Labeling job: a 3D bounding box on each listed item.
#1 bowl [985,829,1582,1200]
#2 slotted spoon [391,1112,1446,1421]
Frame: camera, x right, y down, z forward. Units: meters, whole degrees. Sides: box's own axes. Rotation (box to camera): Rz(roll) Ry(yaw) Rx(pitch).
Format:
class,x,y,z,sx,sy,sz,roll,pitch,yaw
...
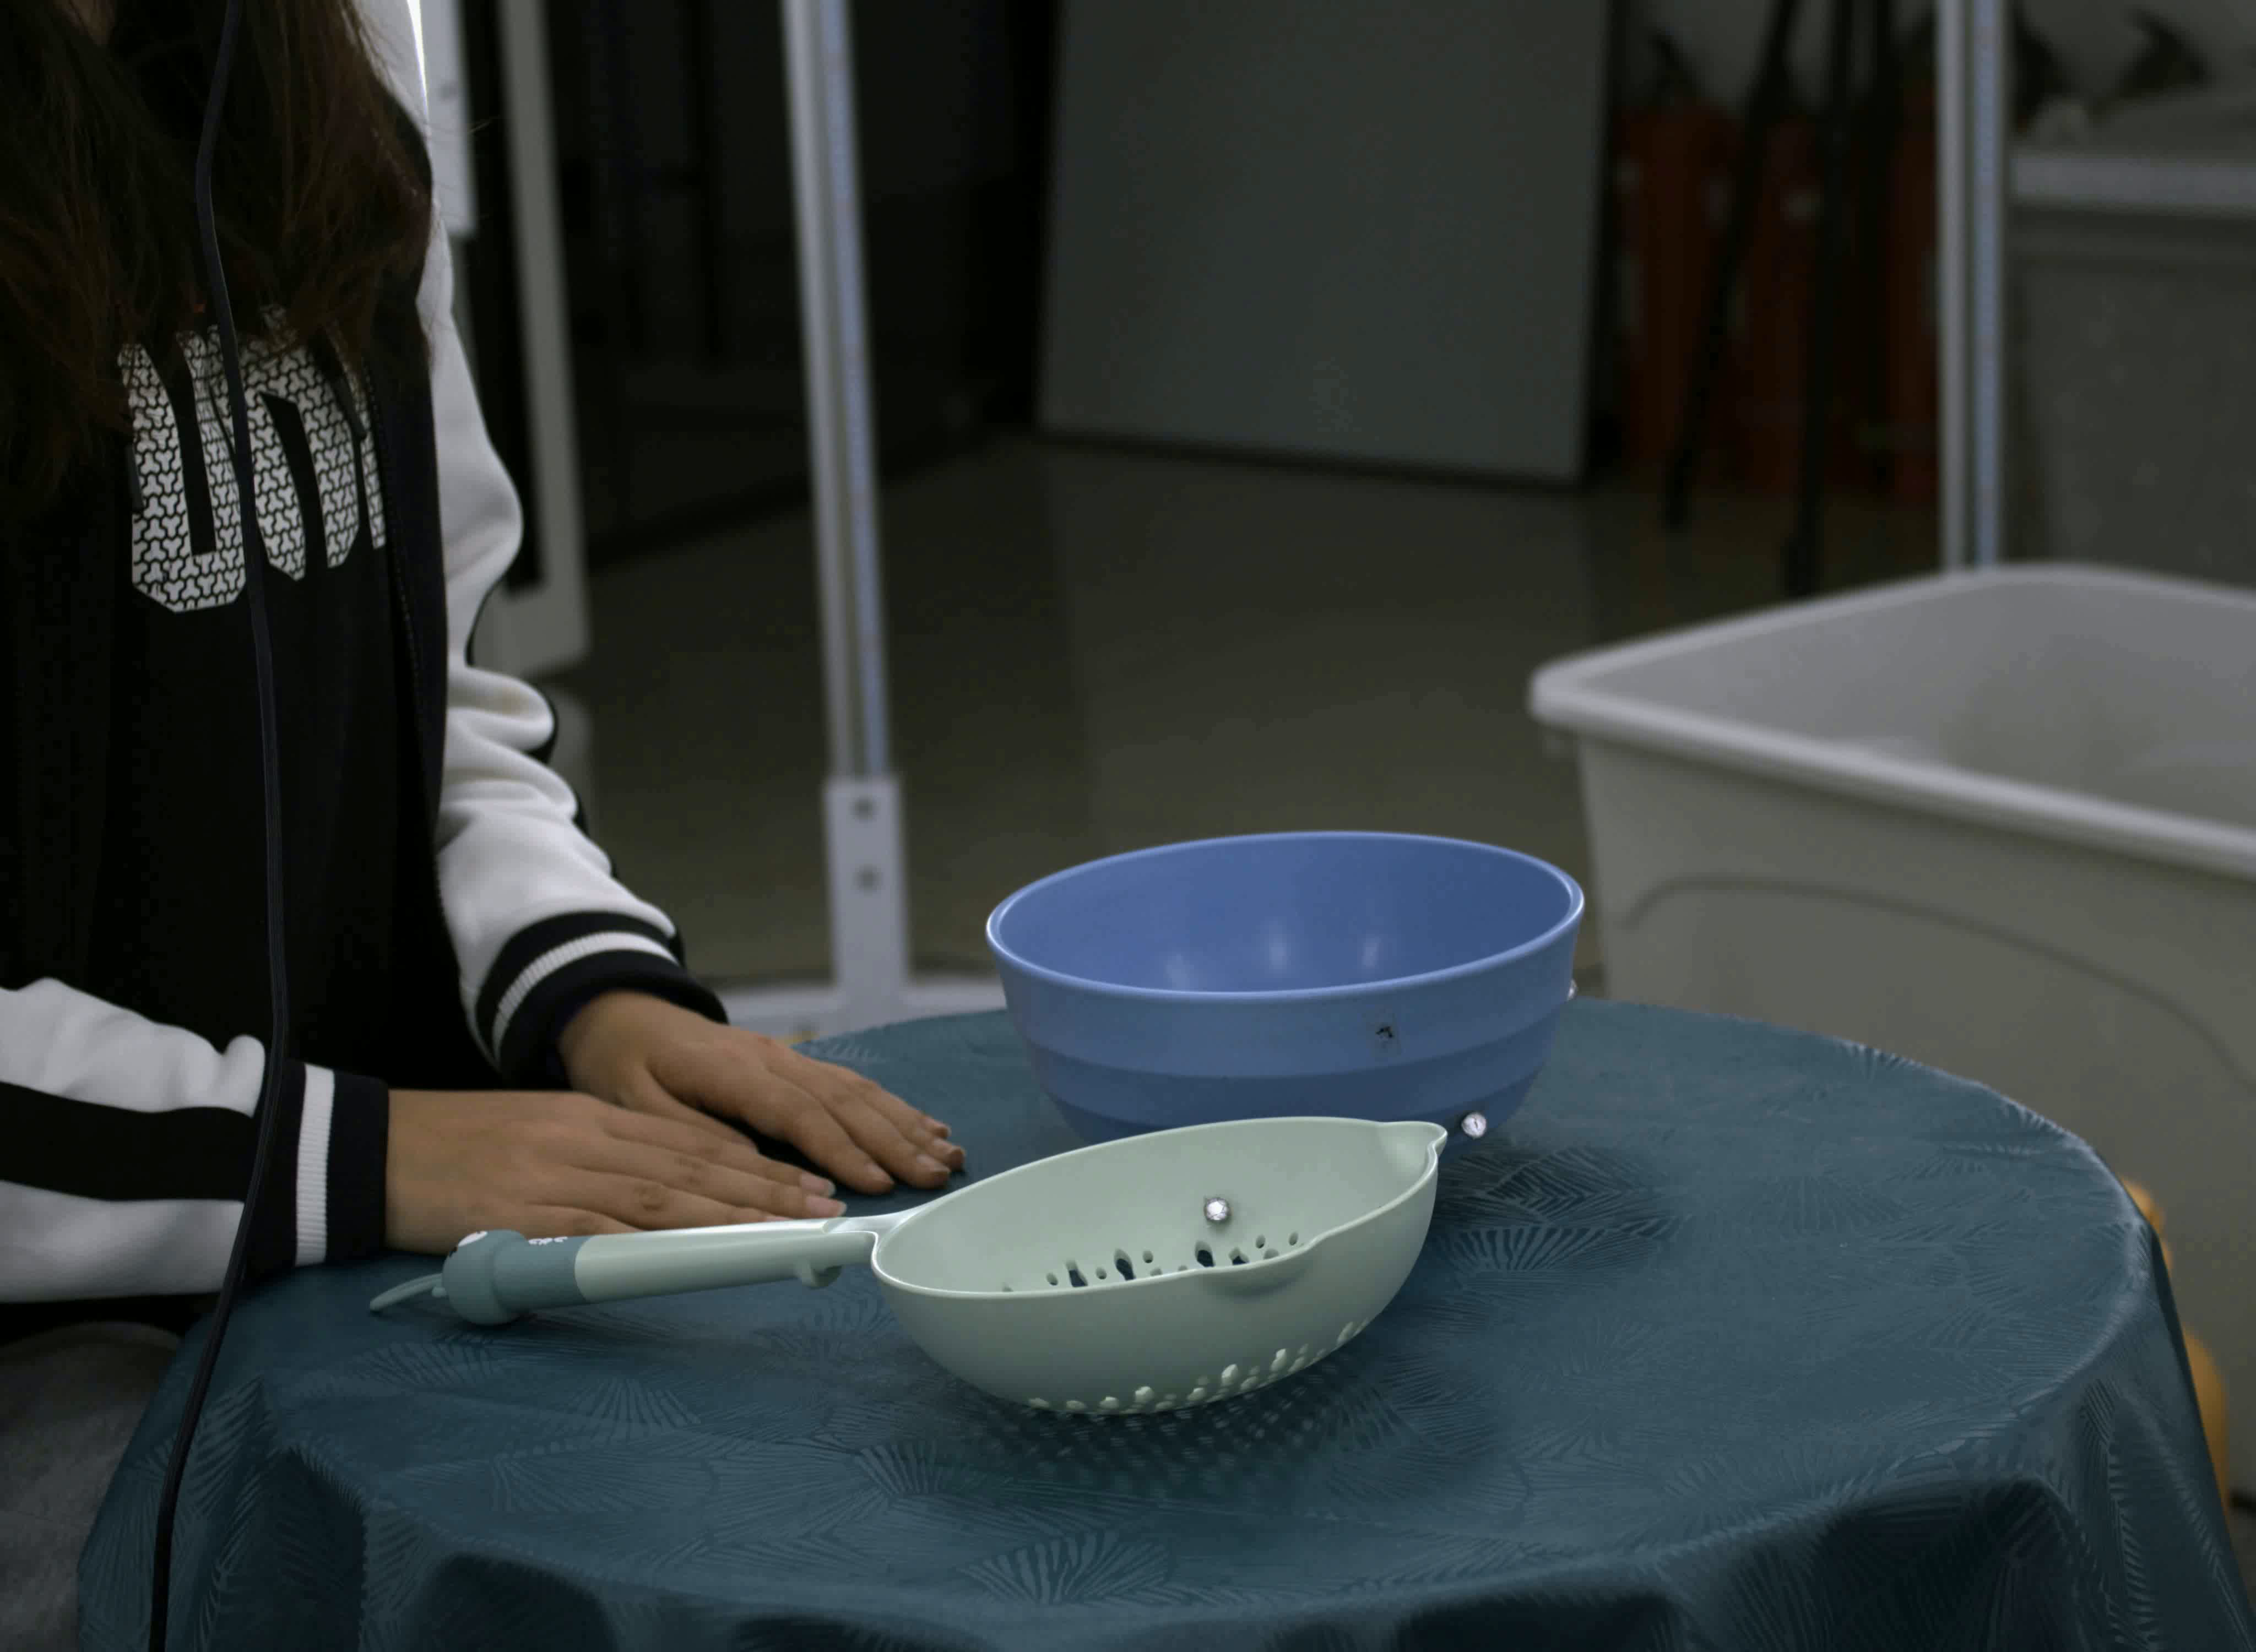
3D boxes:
class,x,y,z,sx,sy,sz,roll,pitch,yaw
bowl,0.054,0.072,1.757,0.194,0.096,0.197,-5,14,0
slotted spoon,-0.075,0.134,1.621,0.359,0.076,0.167,1,13,27
